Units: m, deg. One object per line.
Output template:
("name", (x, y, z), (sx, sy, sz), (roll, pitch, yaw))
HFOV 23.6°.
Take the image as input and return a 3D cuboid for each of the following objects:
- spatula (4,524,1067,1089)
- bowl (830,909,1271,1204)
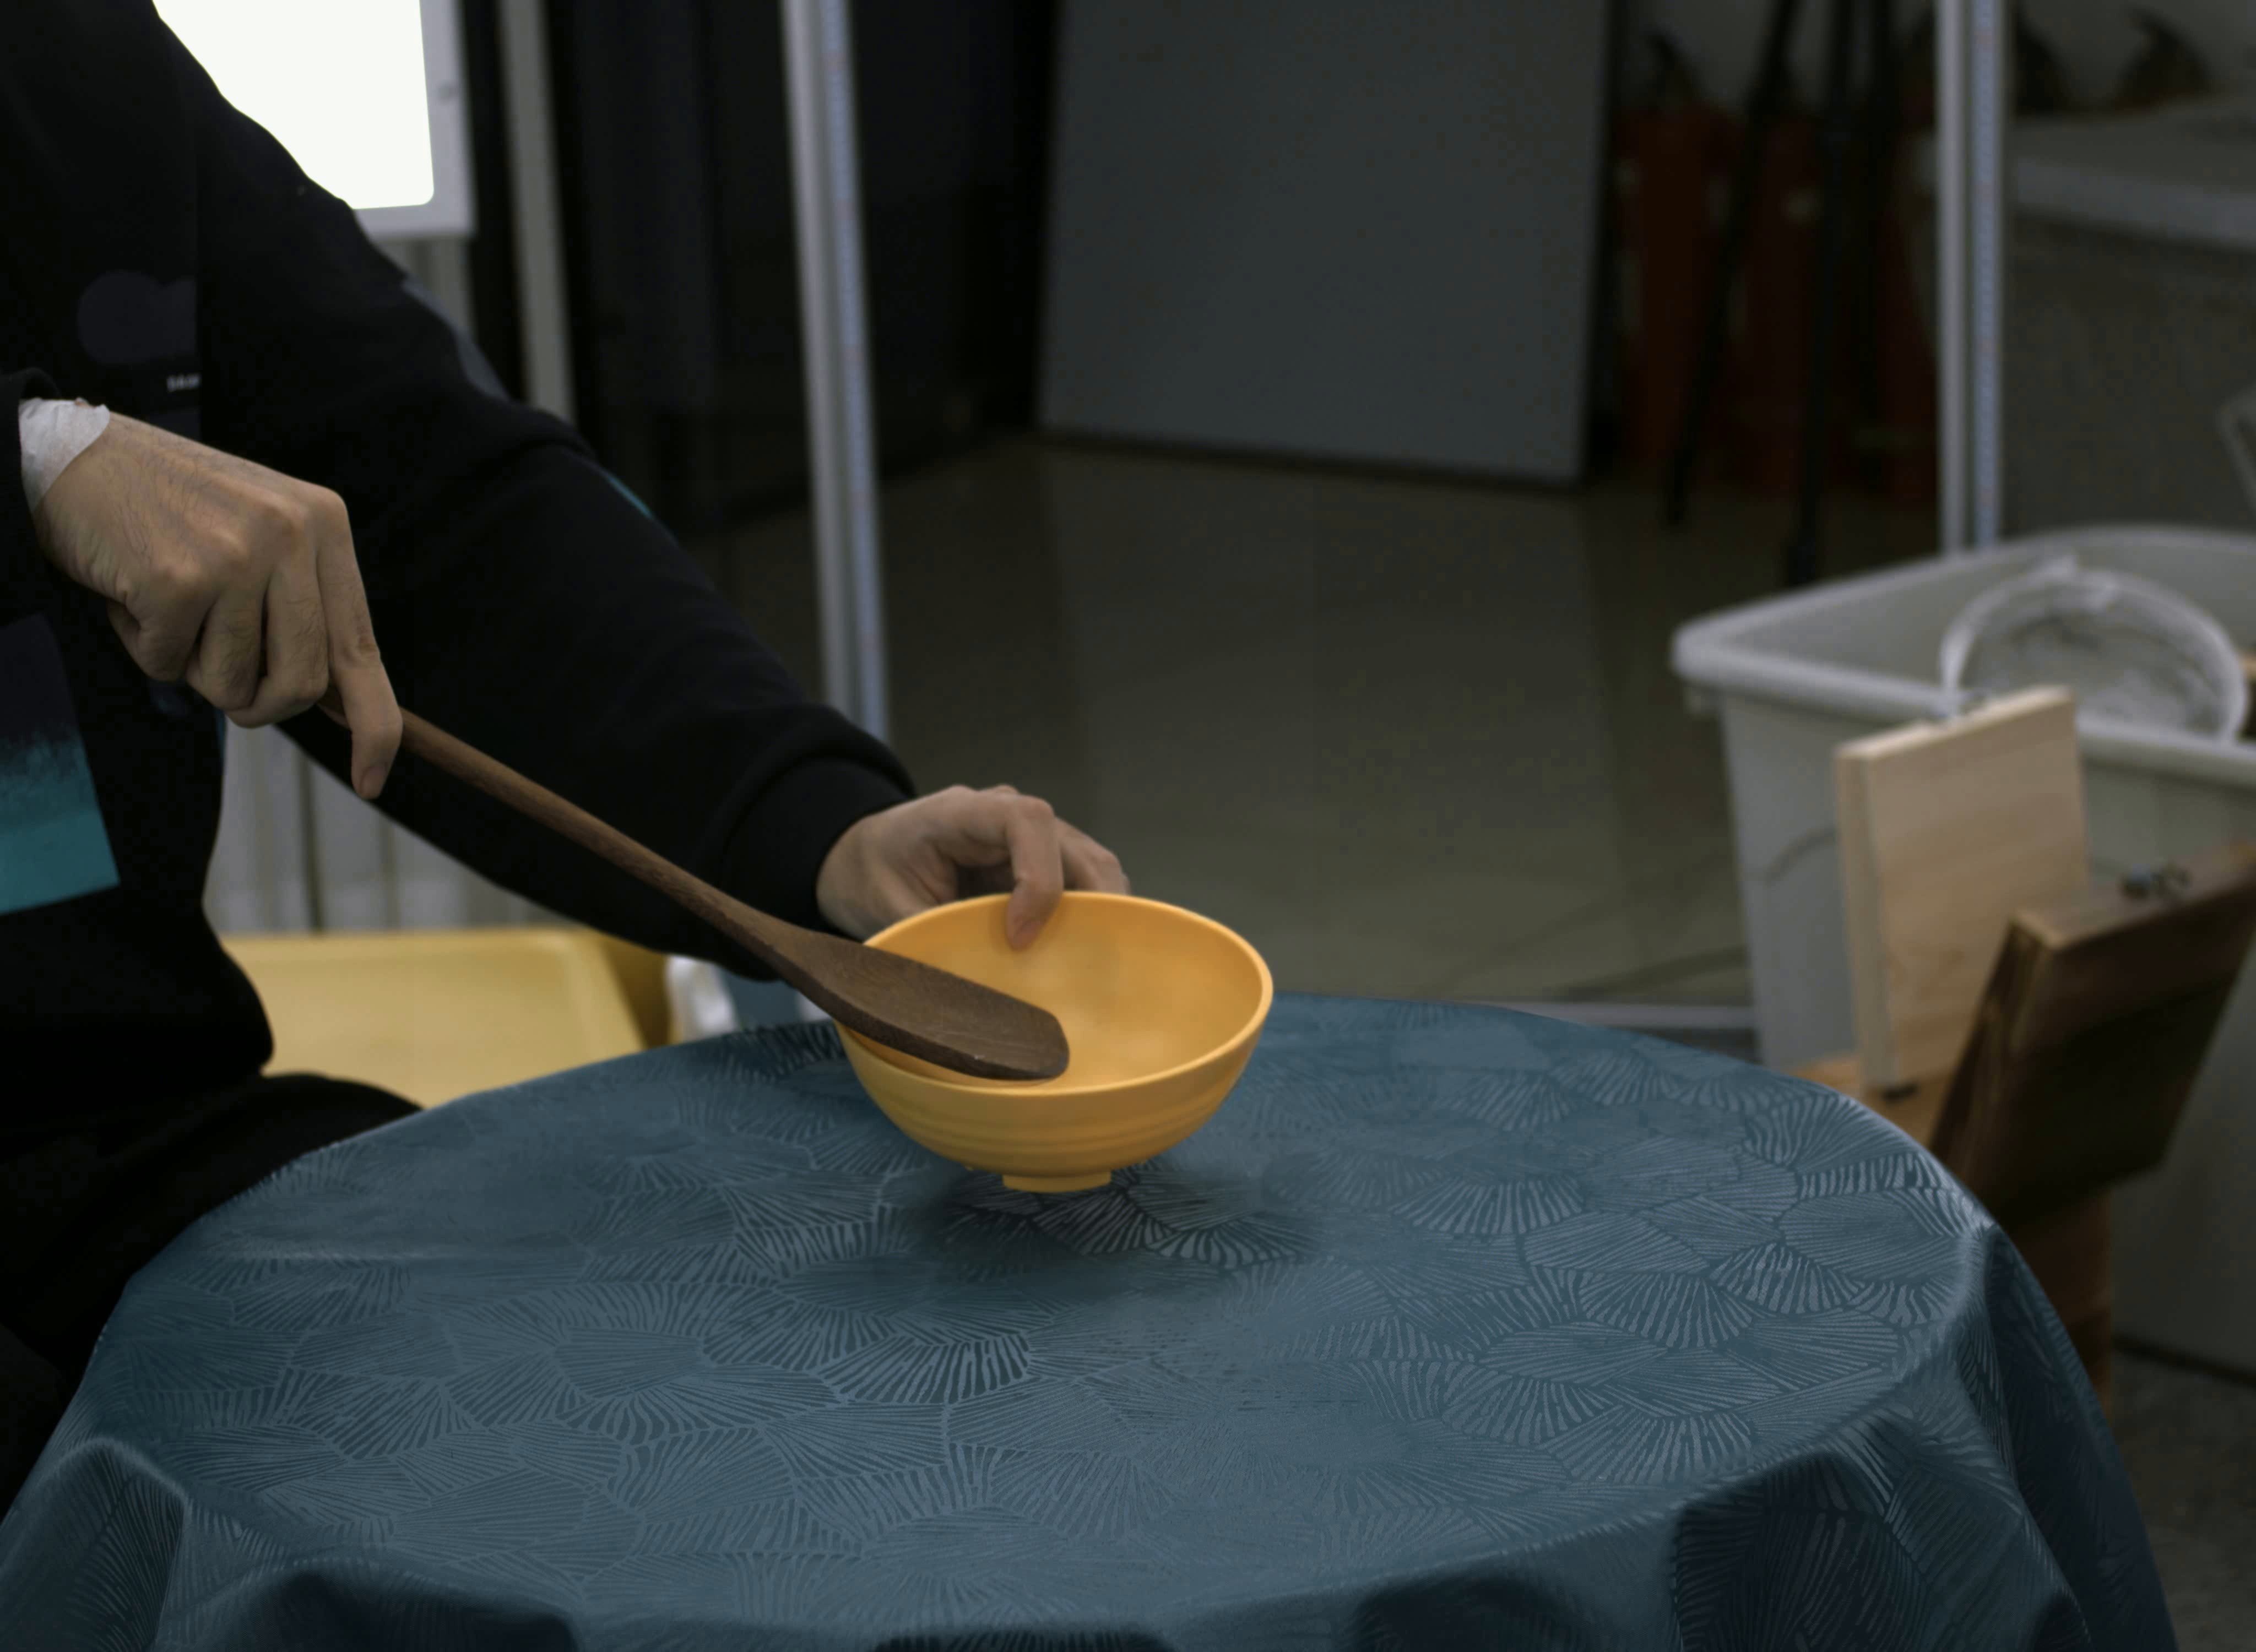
("spatula", (-0.190, -0.008, 1.738), (0.384, 0.016, 0.095), (28, 12, 4))
("bowl", (-0.025, 0.082, 1.754), (0.143, 0.061, 0.146), (-1, 22, 0))
